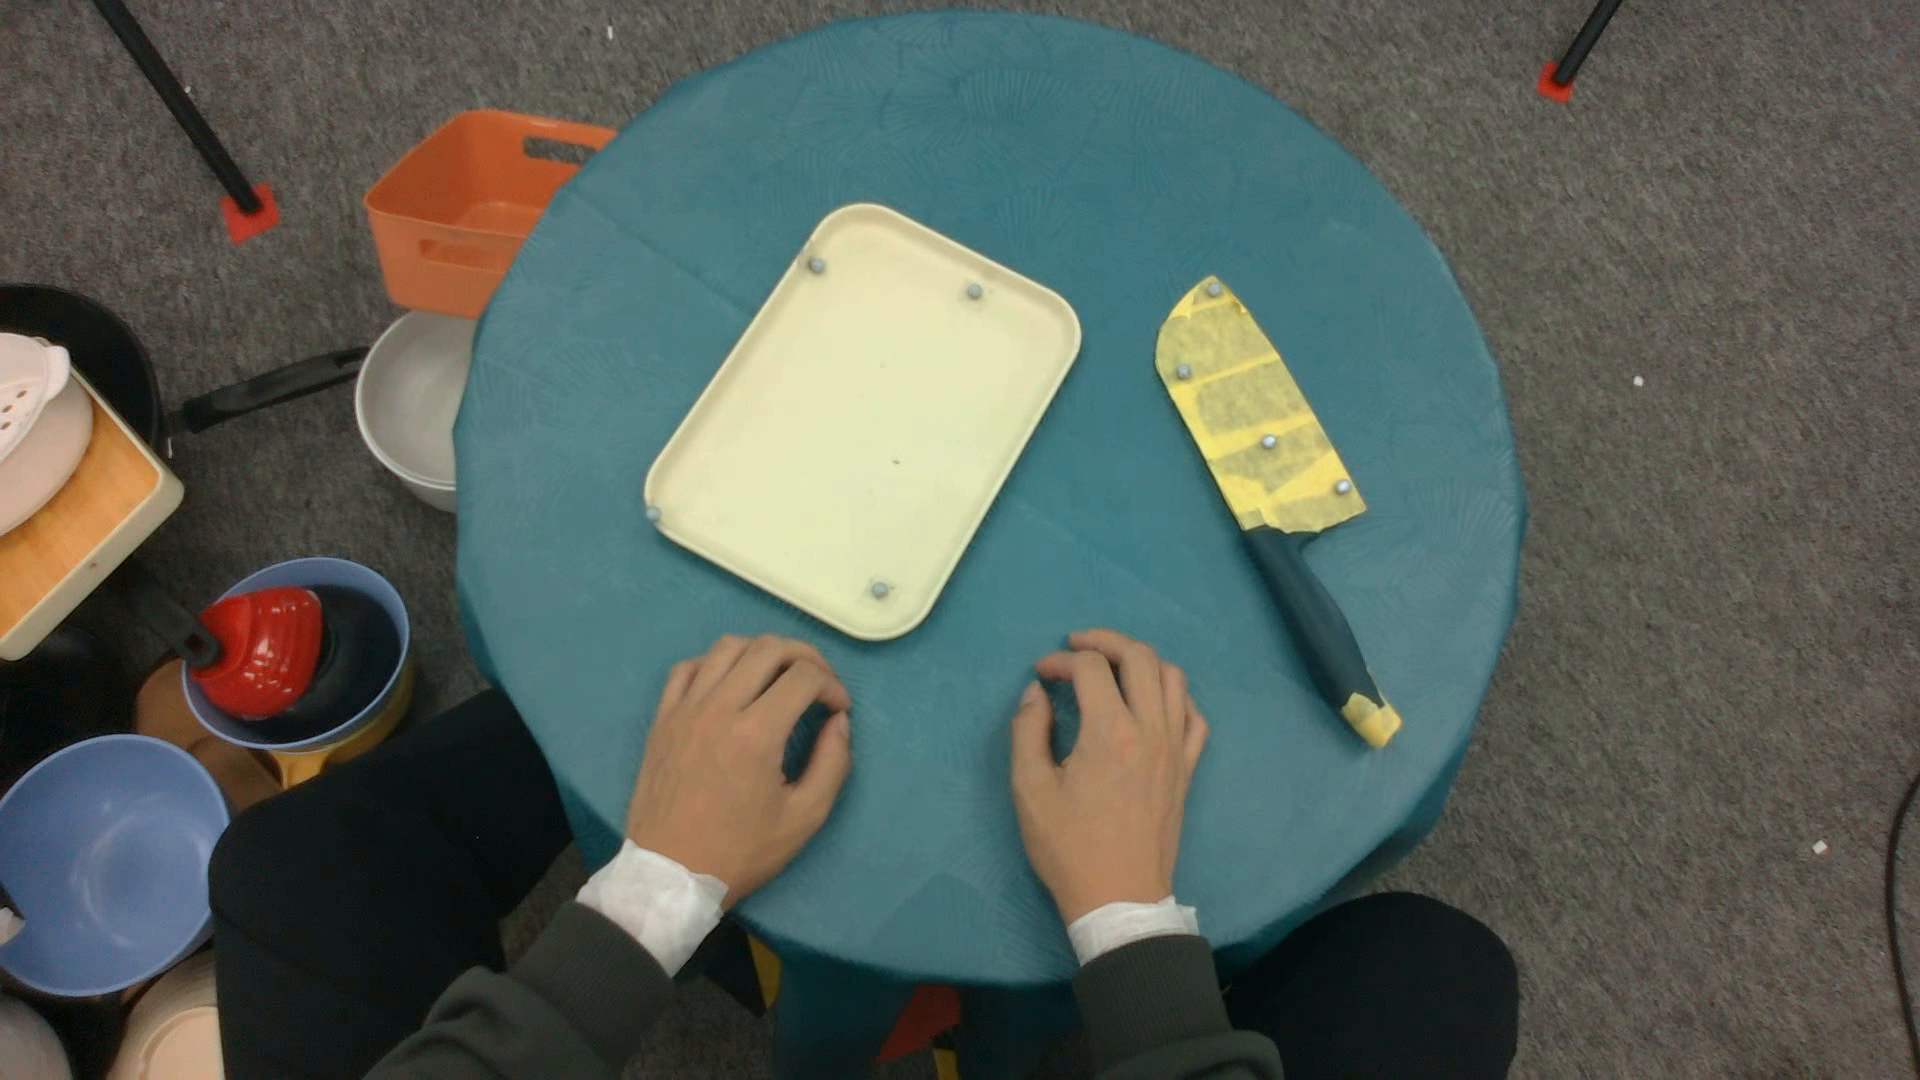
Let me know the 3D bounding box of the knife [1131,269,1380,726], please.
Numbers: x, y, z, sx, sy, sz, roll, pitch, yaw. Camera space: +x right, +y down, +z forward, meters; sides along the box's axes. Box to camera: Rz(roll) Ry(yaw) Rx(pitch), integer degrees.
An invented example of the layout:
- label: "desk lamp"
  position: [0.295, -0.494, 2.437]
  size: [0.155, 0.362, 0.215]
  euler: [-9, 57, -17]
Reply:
- label: "knife"
  position: [0.172, -0.034, 0.774]
  size: [0.081, 0.027, 0.290]
  euler: [-18, 71, -10]

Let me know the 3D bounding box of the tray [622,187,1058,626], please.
- label: "tray"
  position: [-0.062, -0.079, 0.767]
  size: [0.171, 0.017, 0.240]
  euler: [28, 69, 5]
